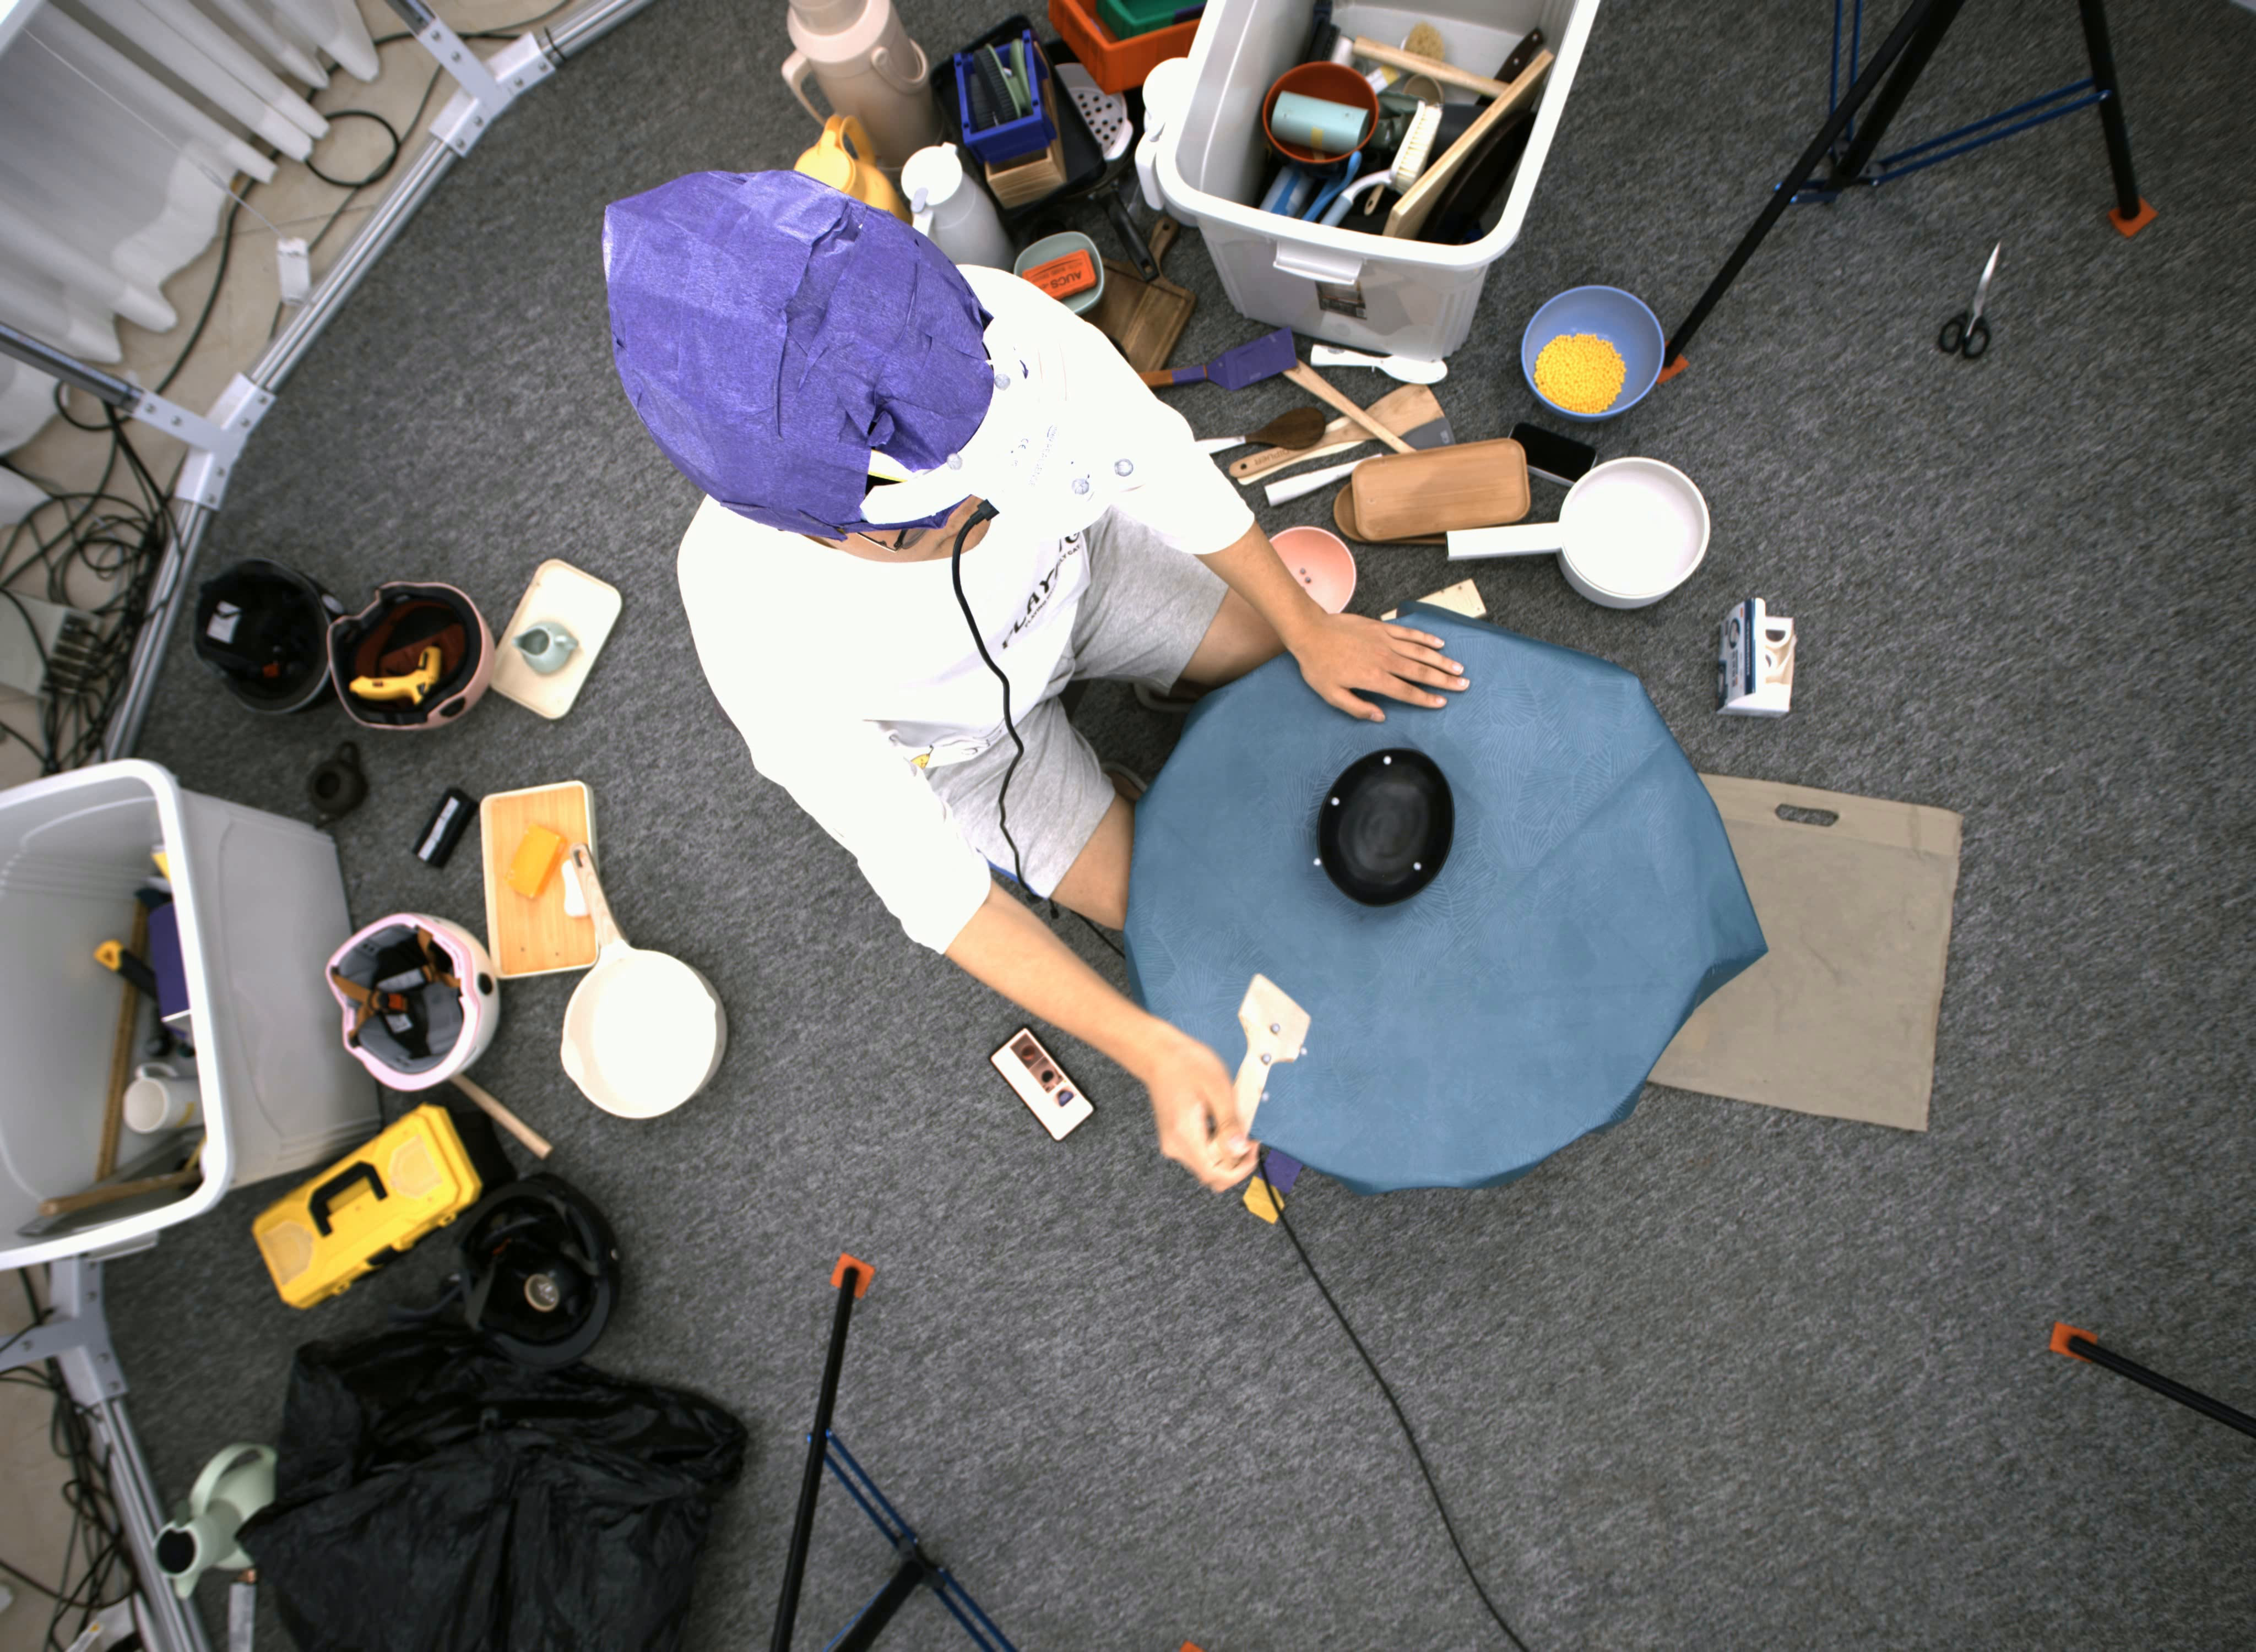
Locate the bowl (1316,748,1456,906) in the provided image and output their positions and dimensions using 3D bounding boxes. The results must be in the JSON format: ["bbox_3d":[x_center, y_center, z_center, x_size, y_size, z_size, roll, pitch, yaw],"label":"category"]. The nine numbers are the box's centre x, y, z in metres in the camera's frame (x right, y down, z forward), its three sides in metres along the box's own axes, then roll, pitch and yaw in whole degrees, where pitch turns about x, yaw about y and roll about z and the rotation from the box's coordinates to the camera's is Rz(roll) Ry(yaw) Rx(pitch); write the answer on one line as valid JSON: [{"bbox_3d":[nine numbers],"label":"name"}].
[{"bbox_3d":[0.268,0.000,1.432,0.137,0.067,0.170,18,88,12],"label":"bowl"}]

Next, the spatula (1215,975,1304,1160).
[{"bbox_3d":[0.111,0.210,1.212,0.072,0.287,0.011,39,112,-1],"label":"spatula"}]
